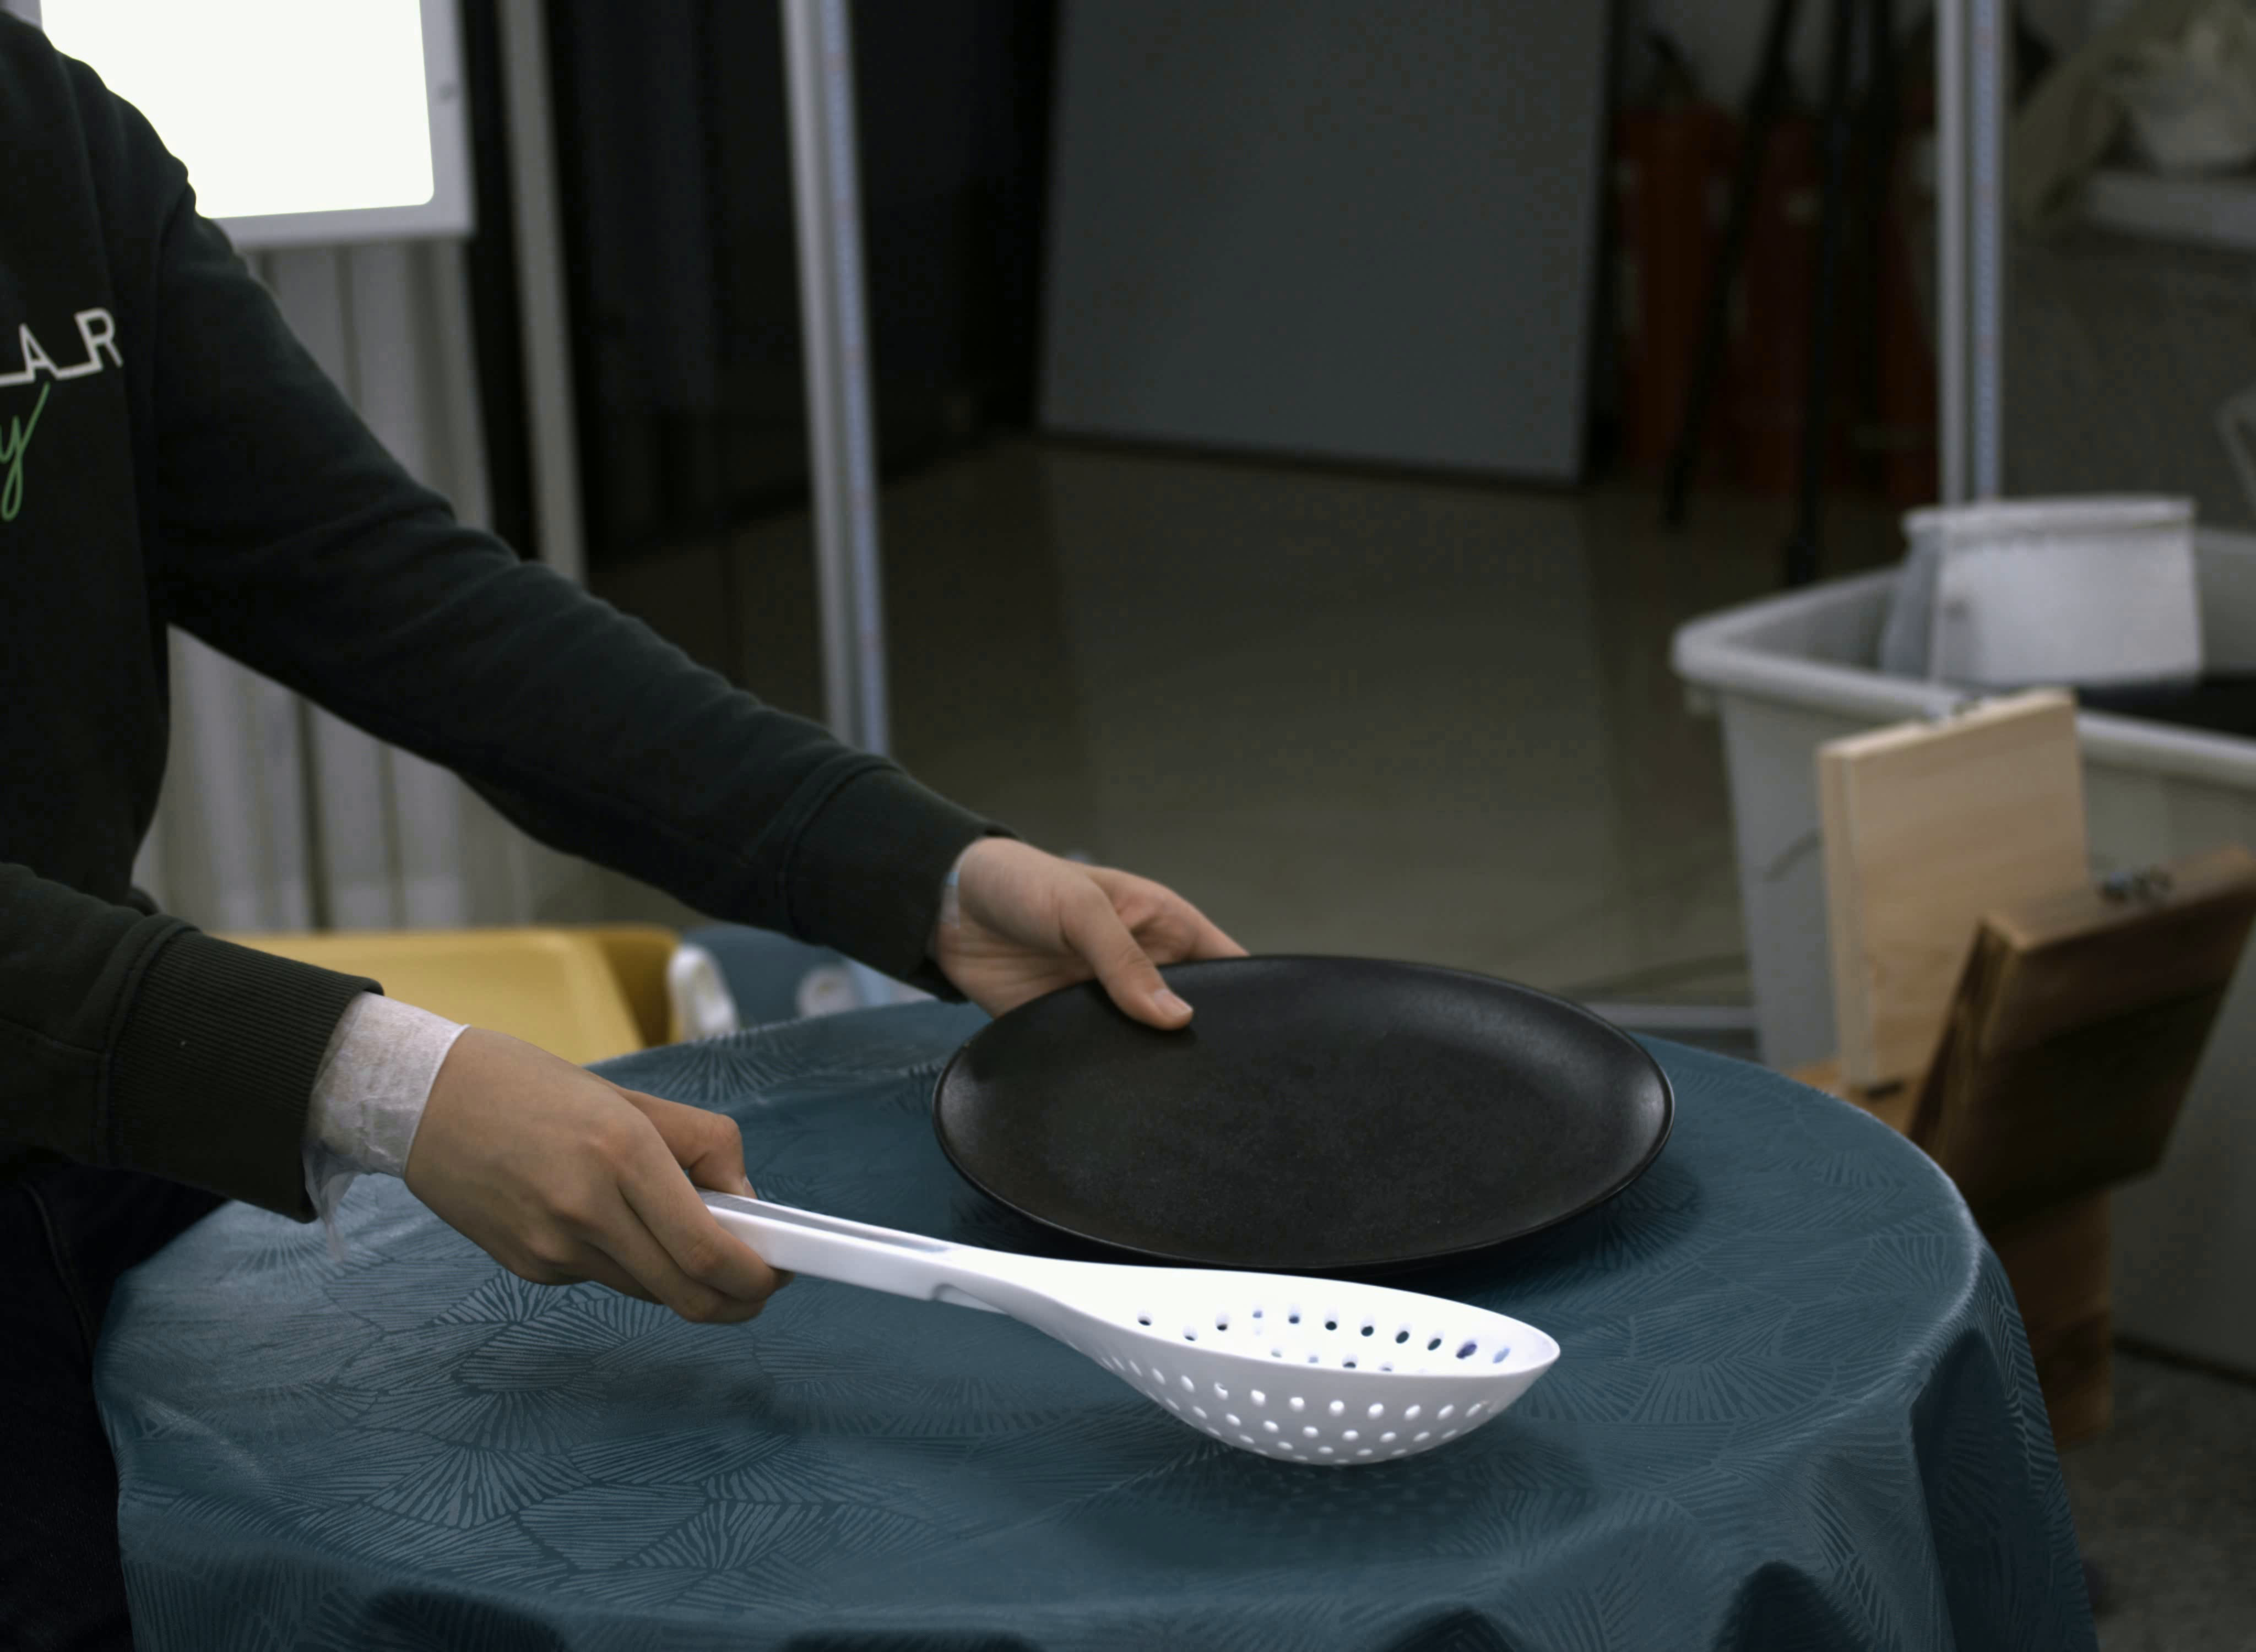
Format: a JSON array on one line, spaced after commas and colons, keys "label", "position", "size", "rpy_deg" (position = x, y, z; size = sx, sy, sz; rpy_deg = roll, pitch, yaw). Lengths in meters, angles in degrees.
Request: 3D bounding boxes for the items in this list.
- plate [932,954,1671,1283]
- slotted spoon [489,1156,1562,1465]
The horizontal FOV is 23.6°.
[{"label": "plate", "position": [0.057, 0.098, 1.749], "size": [0.241, 0.023, 0.245], "rpy_deg": [-2, 22, 0]}, {"label": "slotted spoon", "position": [-0.039, 0.131, 1.561], "size": [0.351, 0.046, 0.134], "rpy_deg": [14, 7, 29]}]
